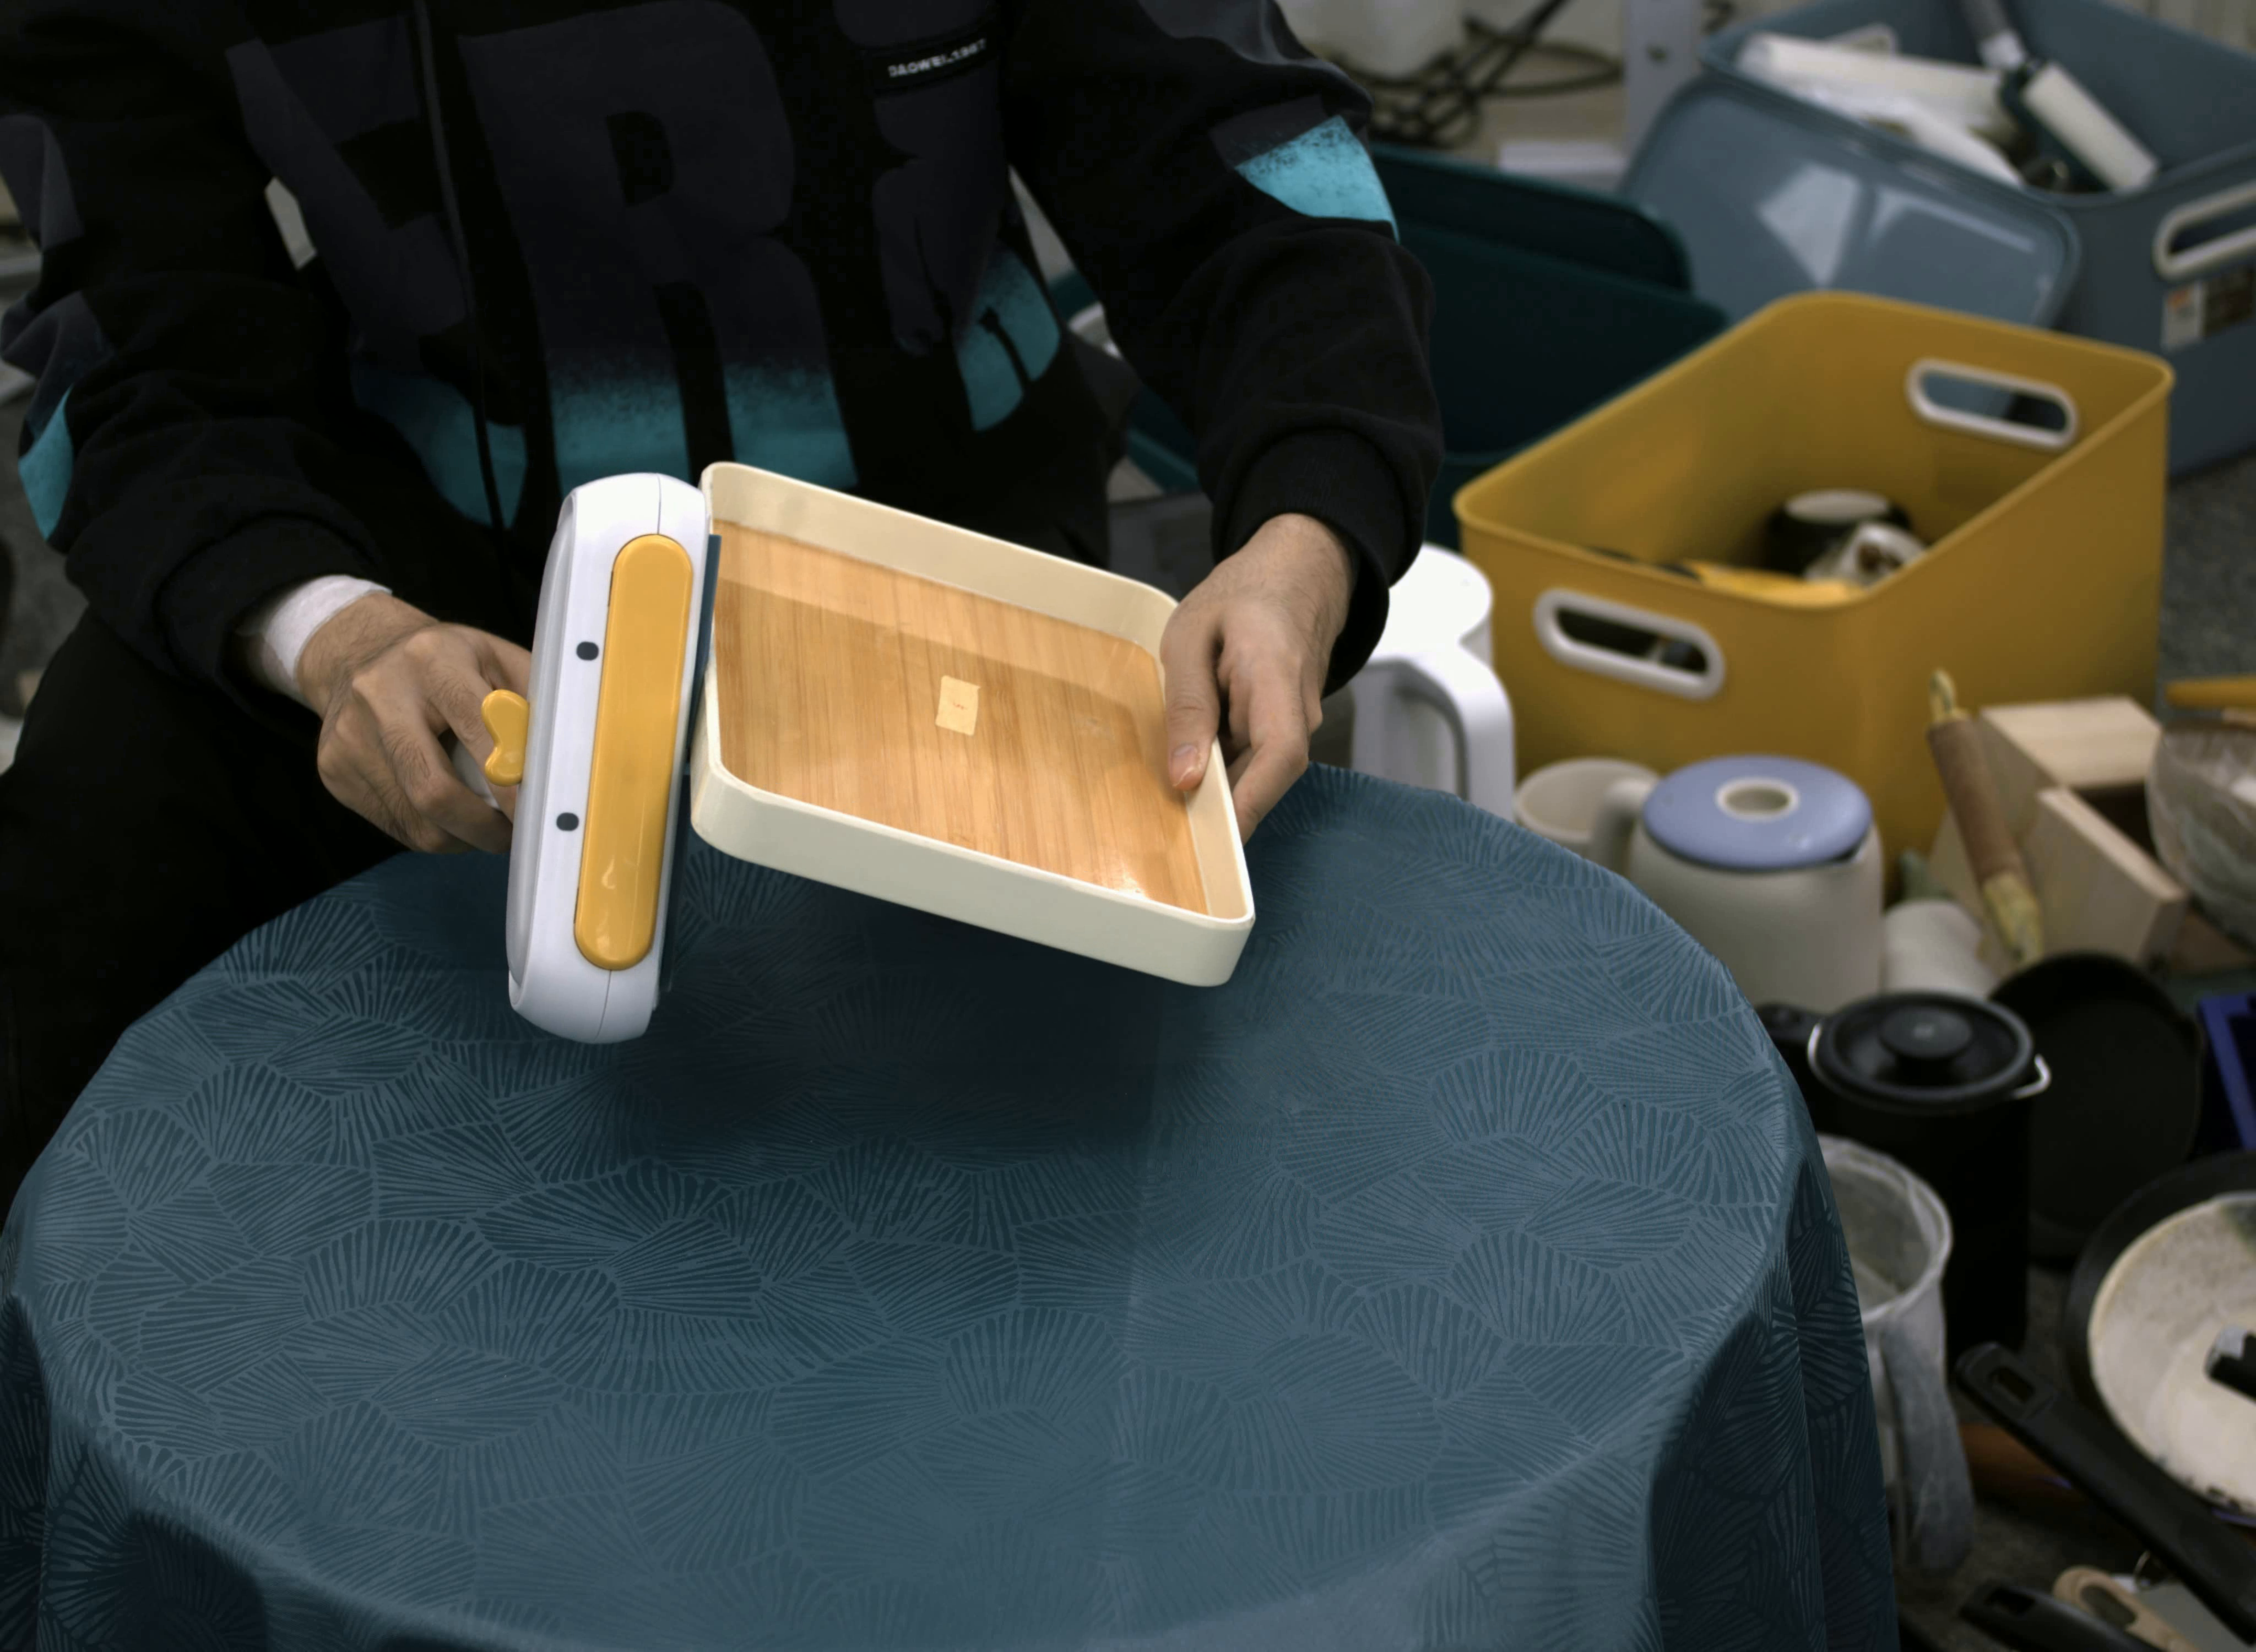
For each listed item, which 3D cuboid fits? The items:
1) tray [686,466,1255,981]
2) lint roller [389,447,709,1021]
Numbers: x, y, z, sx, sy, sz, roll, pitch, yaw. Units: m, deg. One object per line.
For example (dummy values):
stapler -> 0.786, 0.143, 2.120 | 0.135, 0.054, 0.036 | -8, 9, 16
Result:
tray -> -0.061, -0.040, 1.960 | 0.191, 0.027, 0.304 | 15, 21, -11
lint roller -> -0.202, -0.025, 1.938 | 0.074, 0.195, 0.190 | 4, -9, -22
